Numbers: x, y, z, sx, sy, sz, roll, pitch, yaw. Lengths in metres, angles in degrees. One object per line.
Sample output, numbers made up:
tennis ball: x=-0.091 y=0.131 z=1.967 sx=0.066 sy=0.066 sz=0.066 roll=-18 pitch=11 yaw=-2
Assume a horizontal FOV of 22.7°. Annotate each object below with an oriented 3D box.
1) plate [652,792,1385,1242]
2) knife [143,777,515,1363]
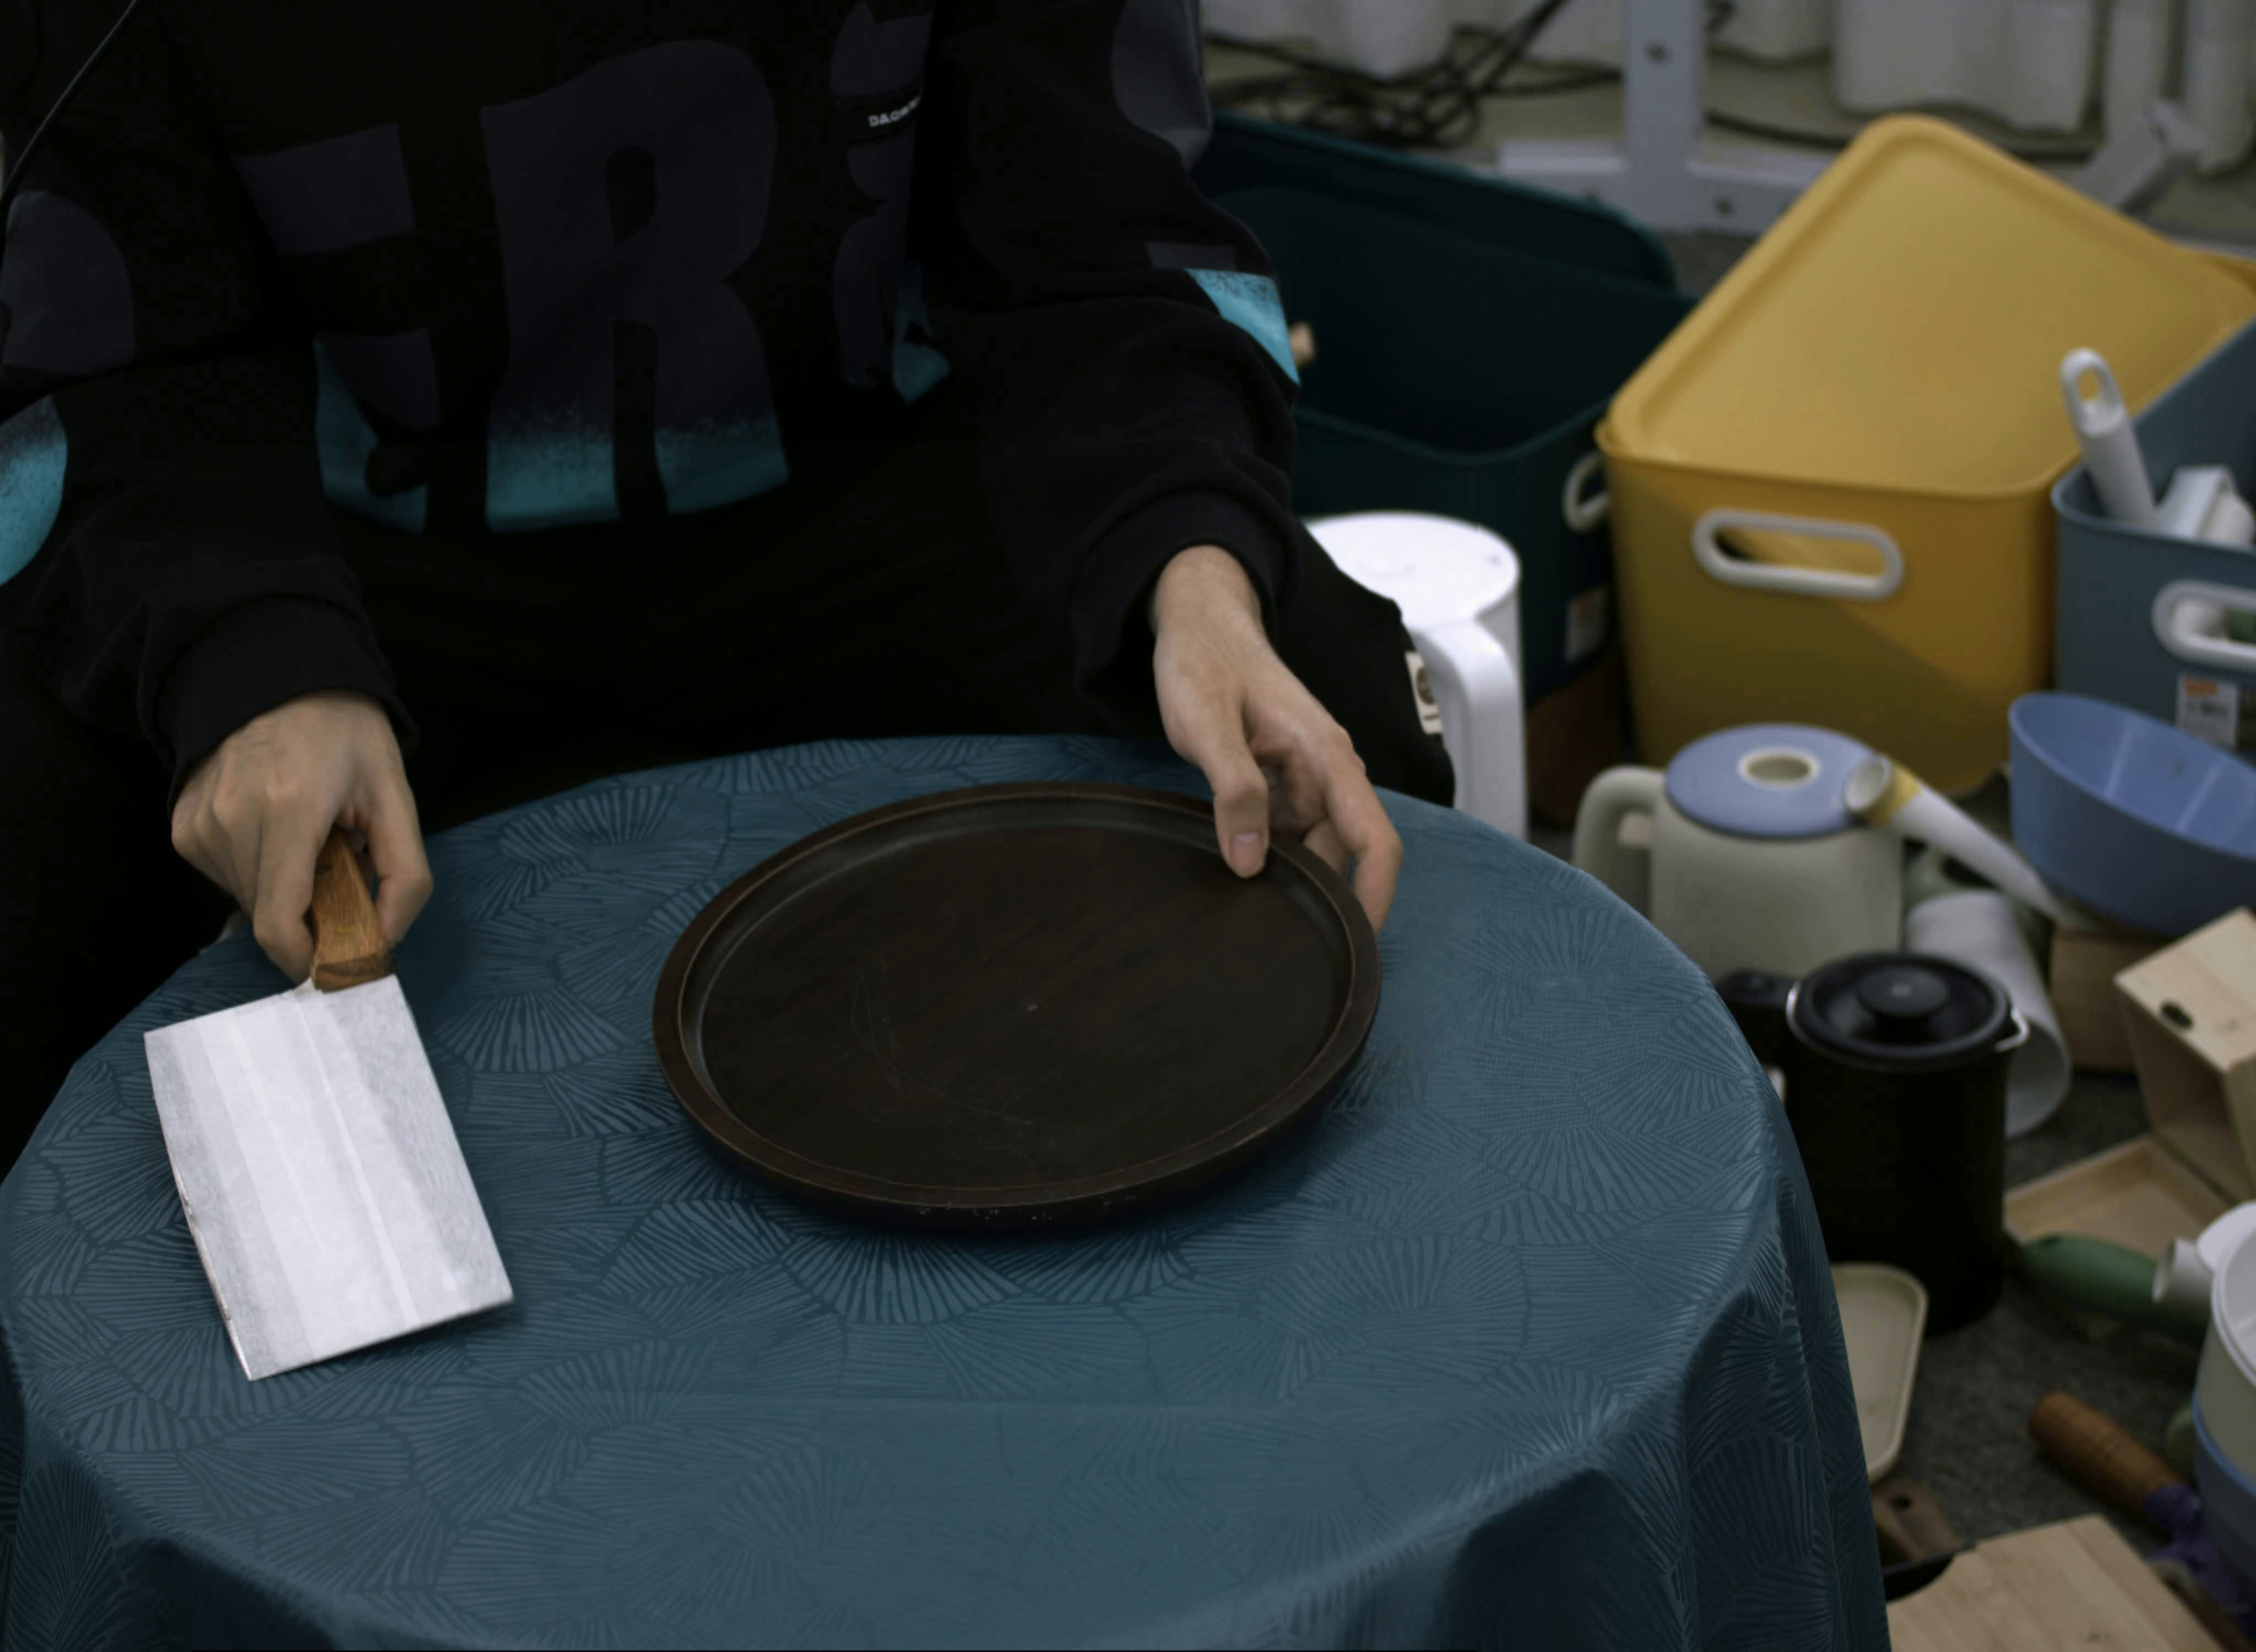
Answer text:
plate: x=-0.037 y=0.063 z=1.931 sx=0.253 sy=0.028 sz=0.259 roll=-3 pitch=34 yaw=3
knife: x=-0.285 y=0.081 z=1.912 sx=0.093 sy=0.021 sz=0.309 roll=-15 pitch=38 yaw=-12
